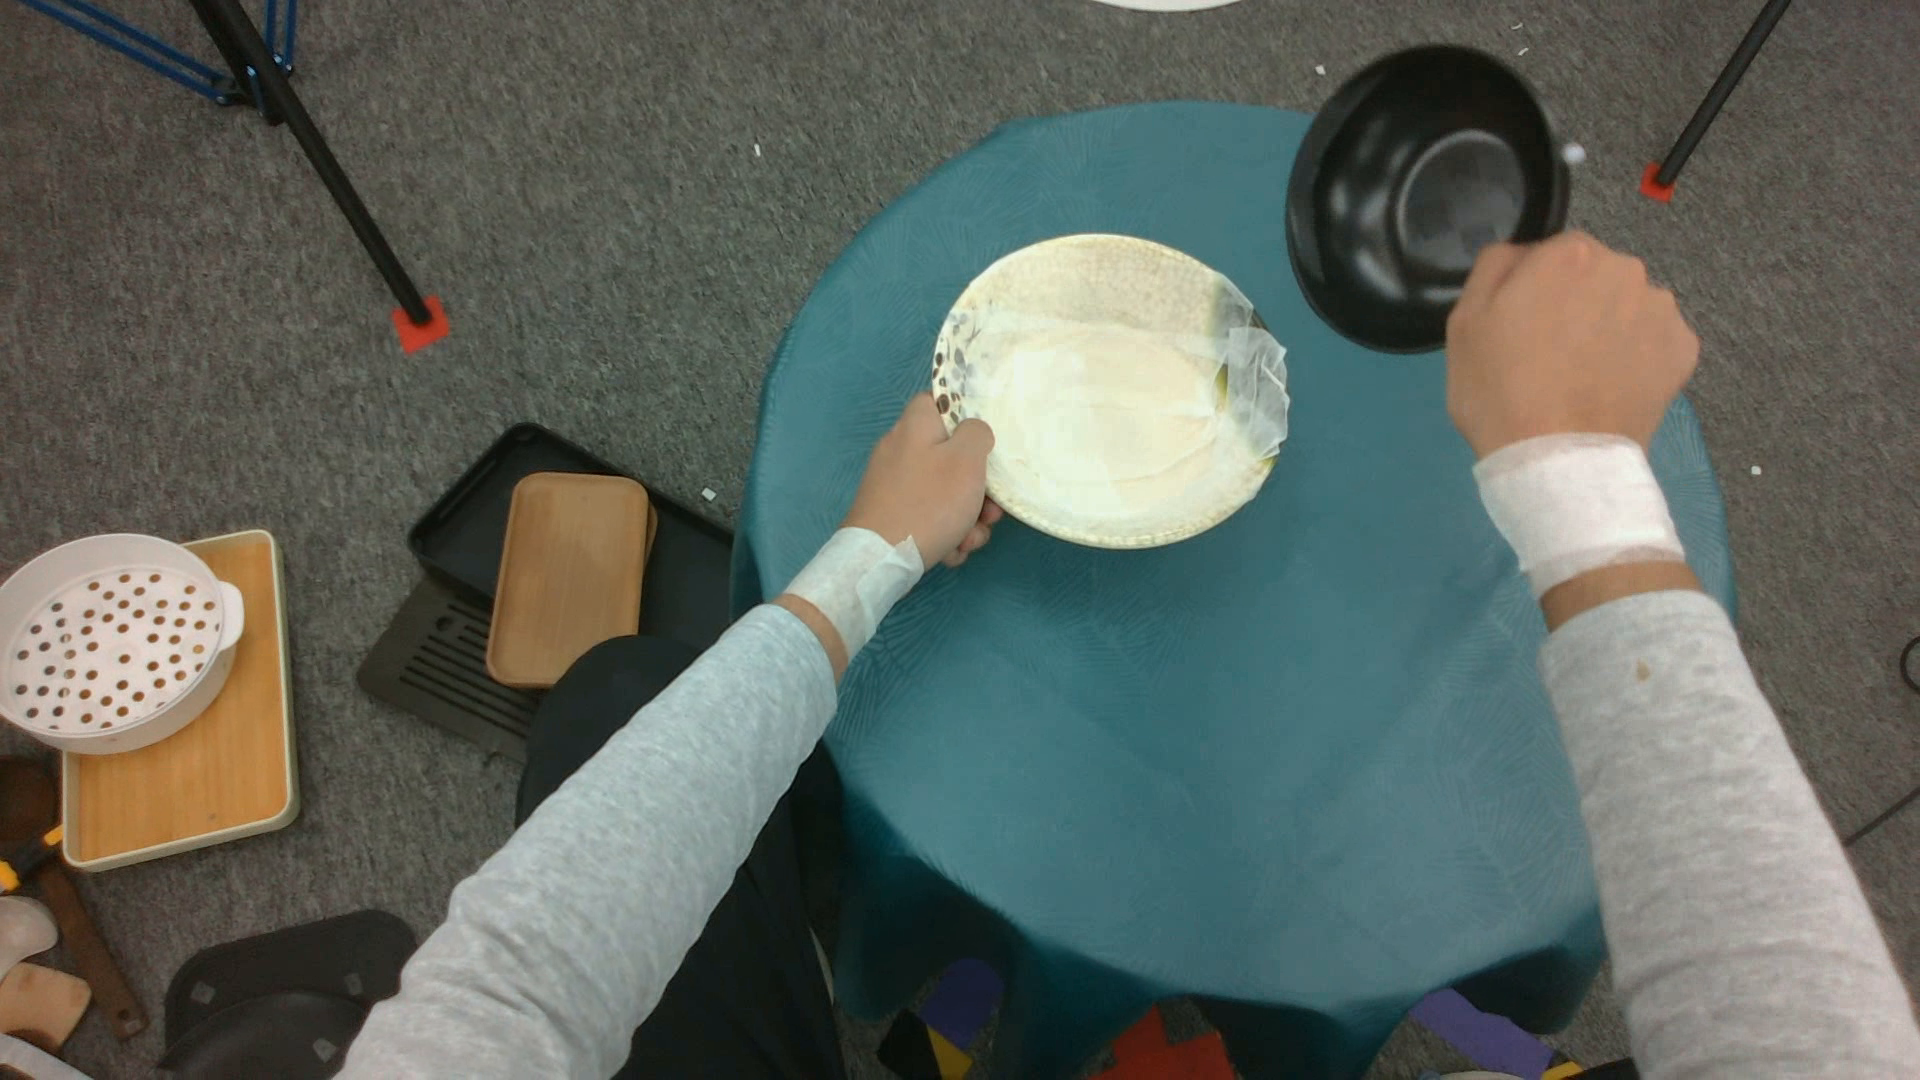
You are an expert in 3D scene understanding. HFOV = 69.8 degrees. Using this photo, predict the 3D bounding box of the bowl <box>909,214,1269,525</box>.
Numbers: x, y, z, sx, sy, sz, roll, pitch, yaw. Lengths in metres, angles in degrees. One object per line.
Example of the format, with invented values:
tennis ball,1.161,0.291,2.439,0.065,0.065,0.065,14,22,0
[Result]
bowl,0.071,-0.087,0.809,0.204,0.077,0.204,2,66,-3

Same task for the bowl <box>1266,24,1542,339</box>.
bowl,0.213,-0.166,0.644,0.050,0.139,0.140,-15,66,-36
